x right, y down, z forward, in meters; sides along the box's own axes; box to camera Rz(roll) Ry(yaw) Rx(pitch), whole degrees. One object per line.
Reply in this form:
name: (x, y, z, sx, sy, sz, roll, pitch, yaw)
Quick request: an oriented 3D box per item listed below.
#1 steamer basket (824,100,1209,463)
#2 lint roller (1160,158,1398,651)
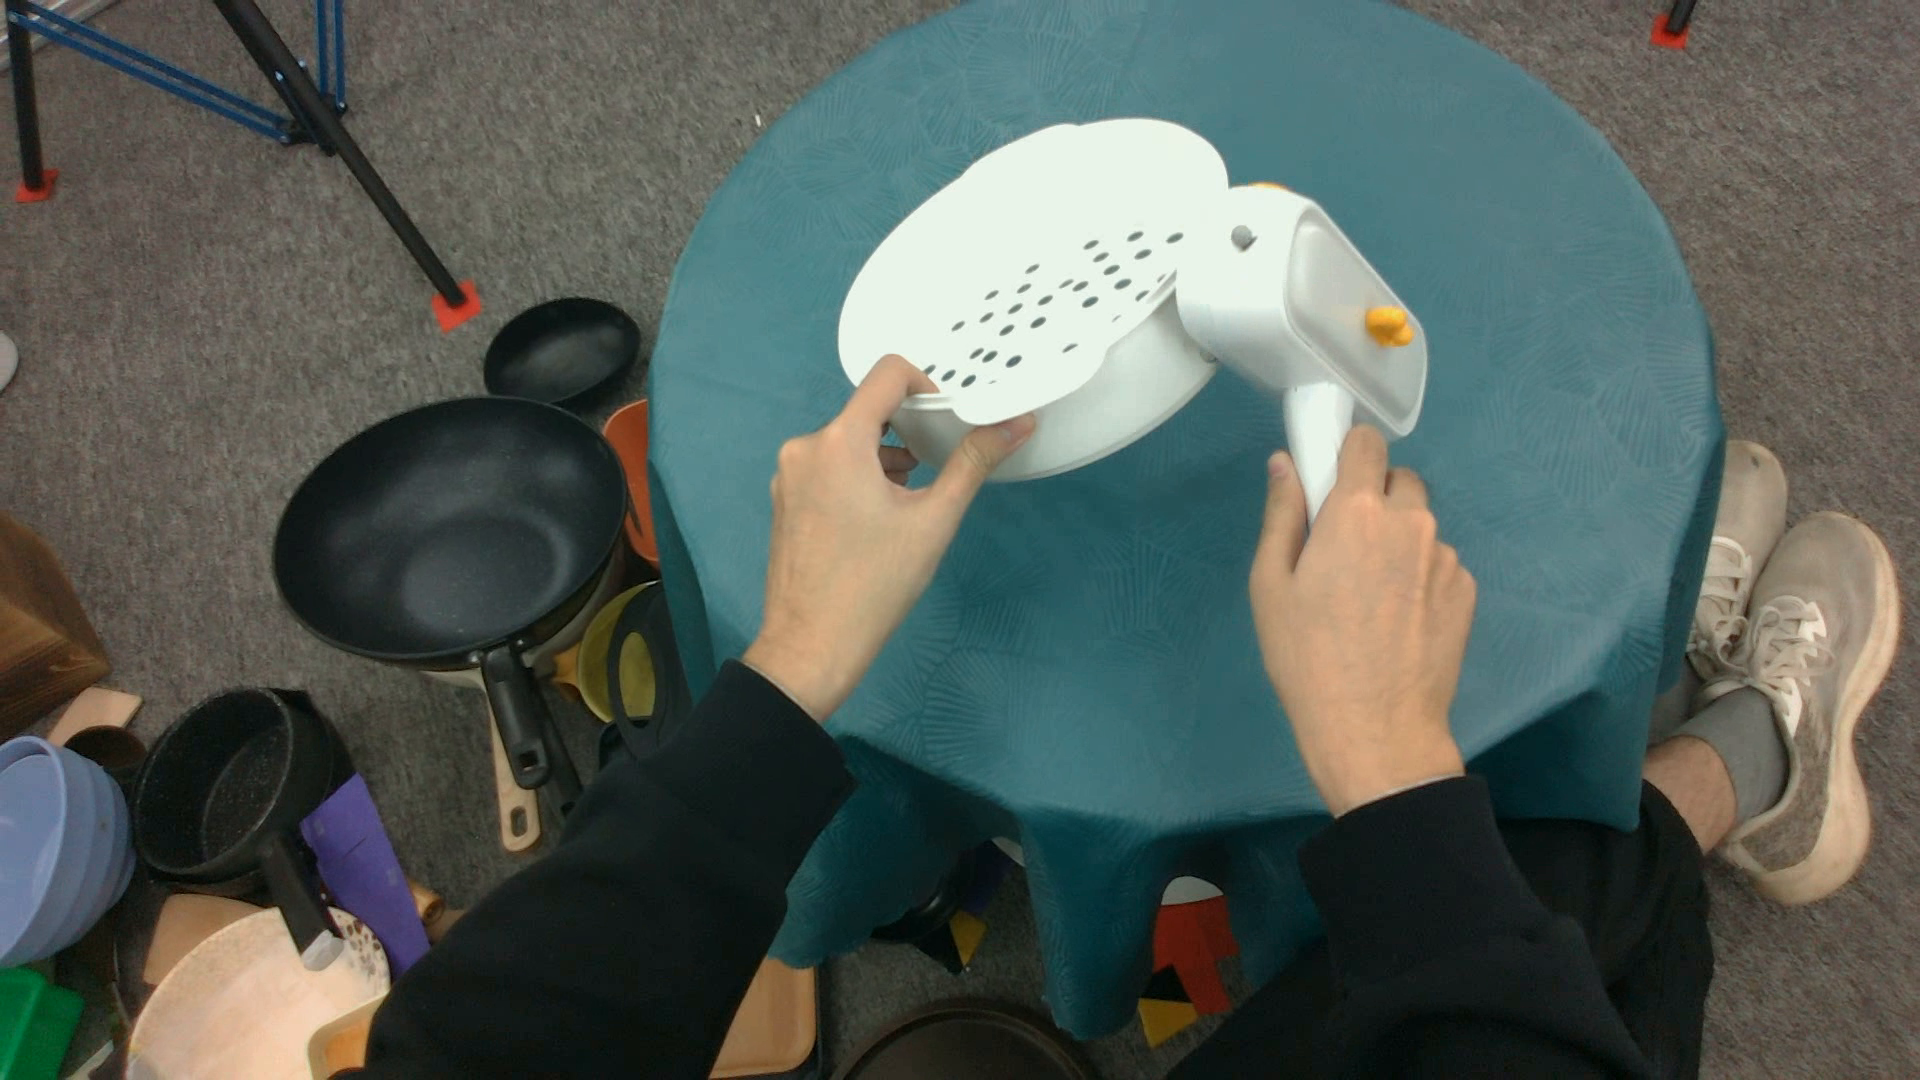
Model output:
steamer basket: (0.035, -0.126, 0.675, 0.201, 0.069, 0.231, -20, 42, 17)
lint roller: (0.150, -0.048, 0.598, 0.074, 0.193, 0.193, -3, 78, 28)
